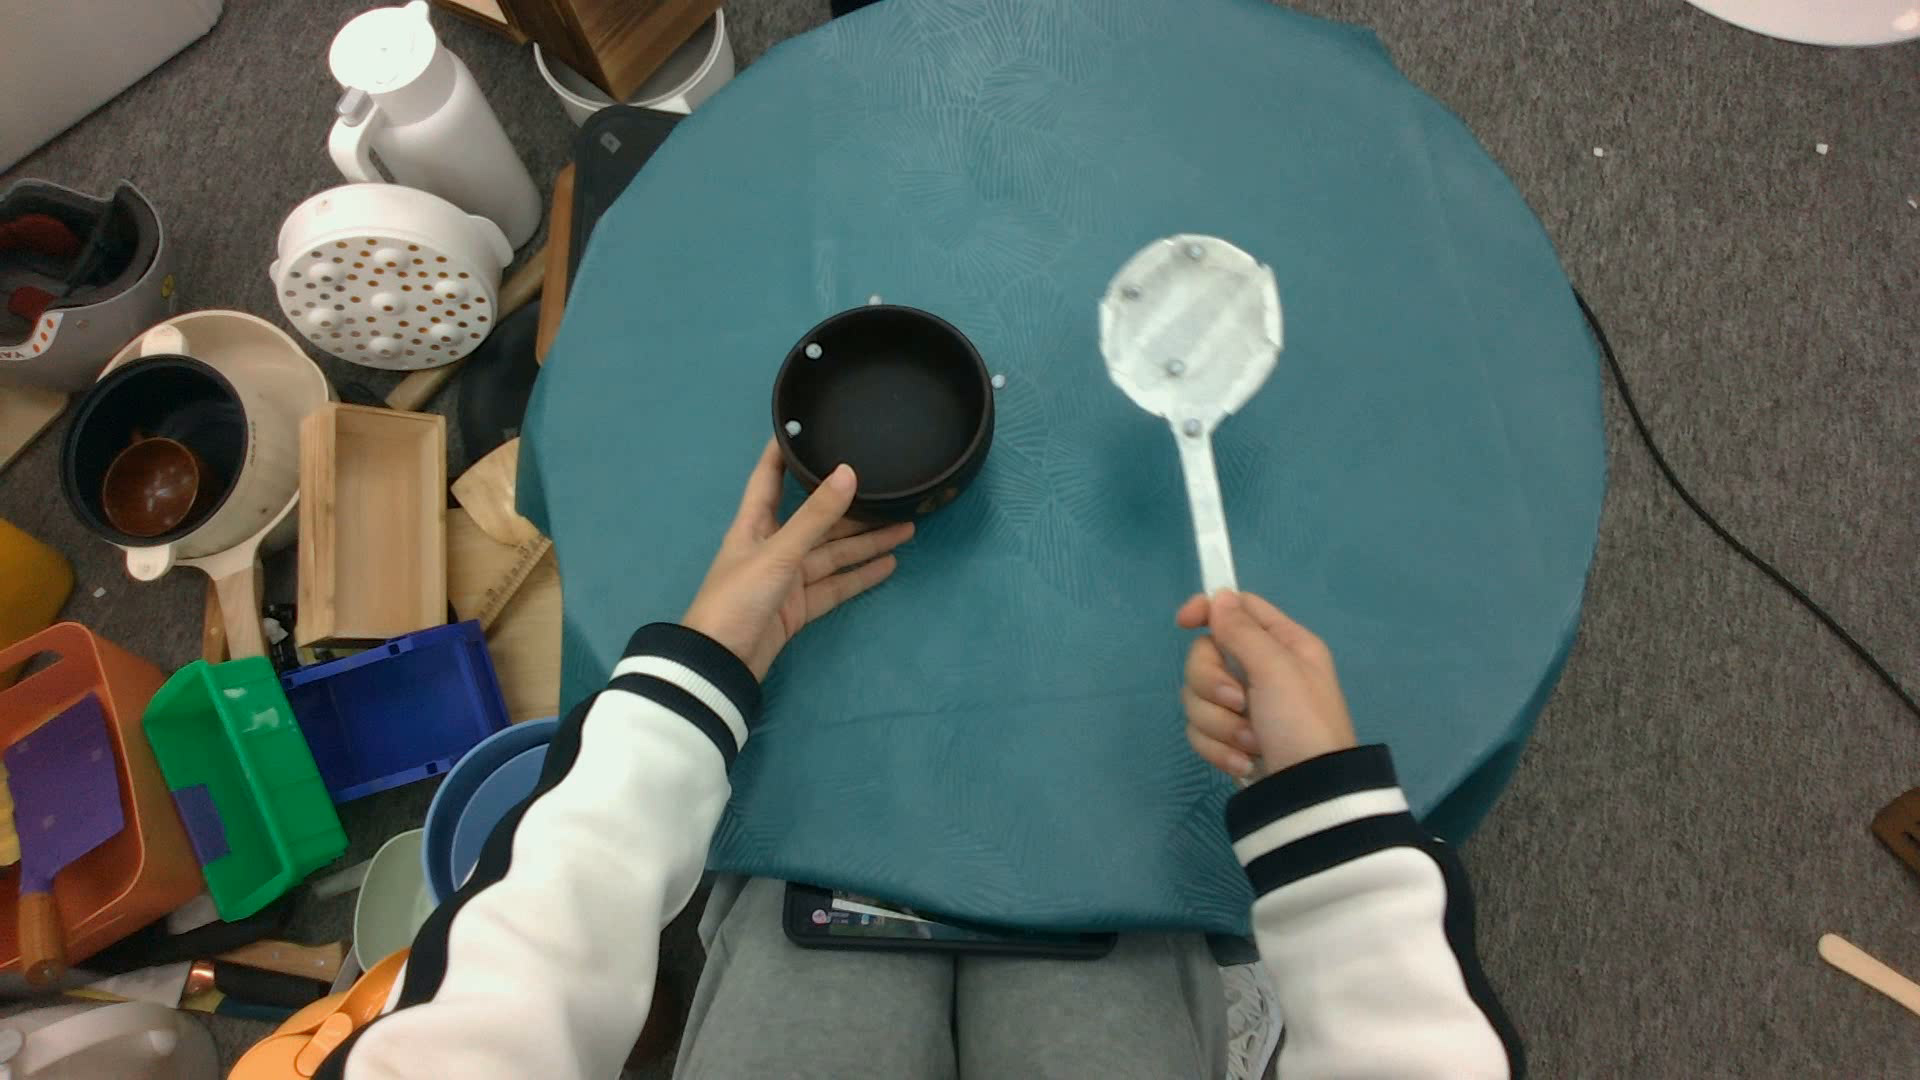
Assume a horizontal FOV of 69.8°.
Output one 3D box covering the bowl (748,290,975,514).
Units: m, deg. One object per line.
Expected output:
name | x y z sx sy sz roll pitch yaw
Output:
bowl | -0.050 -0.067 0.739 0.118 0.069 0.118 0 69 1

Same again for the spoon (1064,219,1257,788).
spoon | 0.105 -0.026 0.637 0.101 0.059 0.278 -1 59 -6
